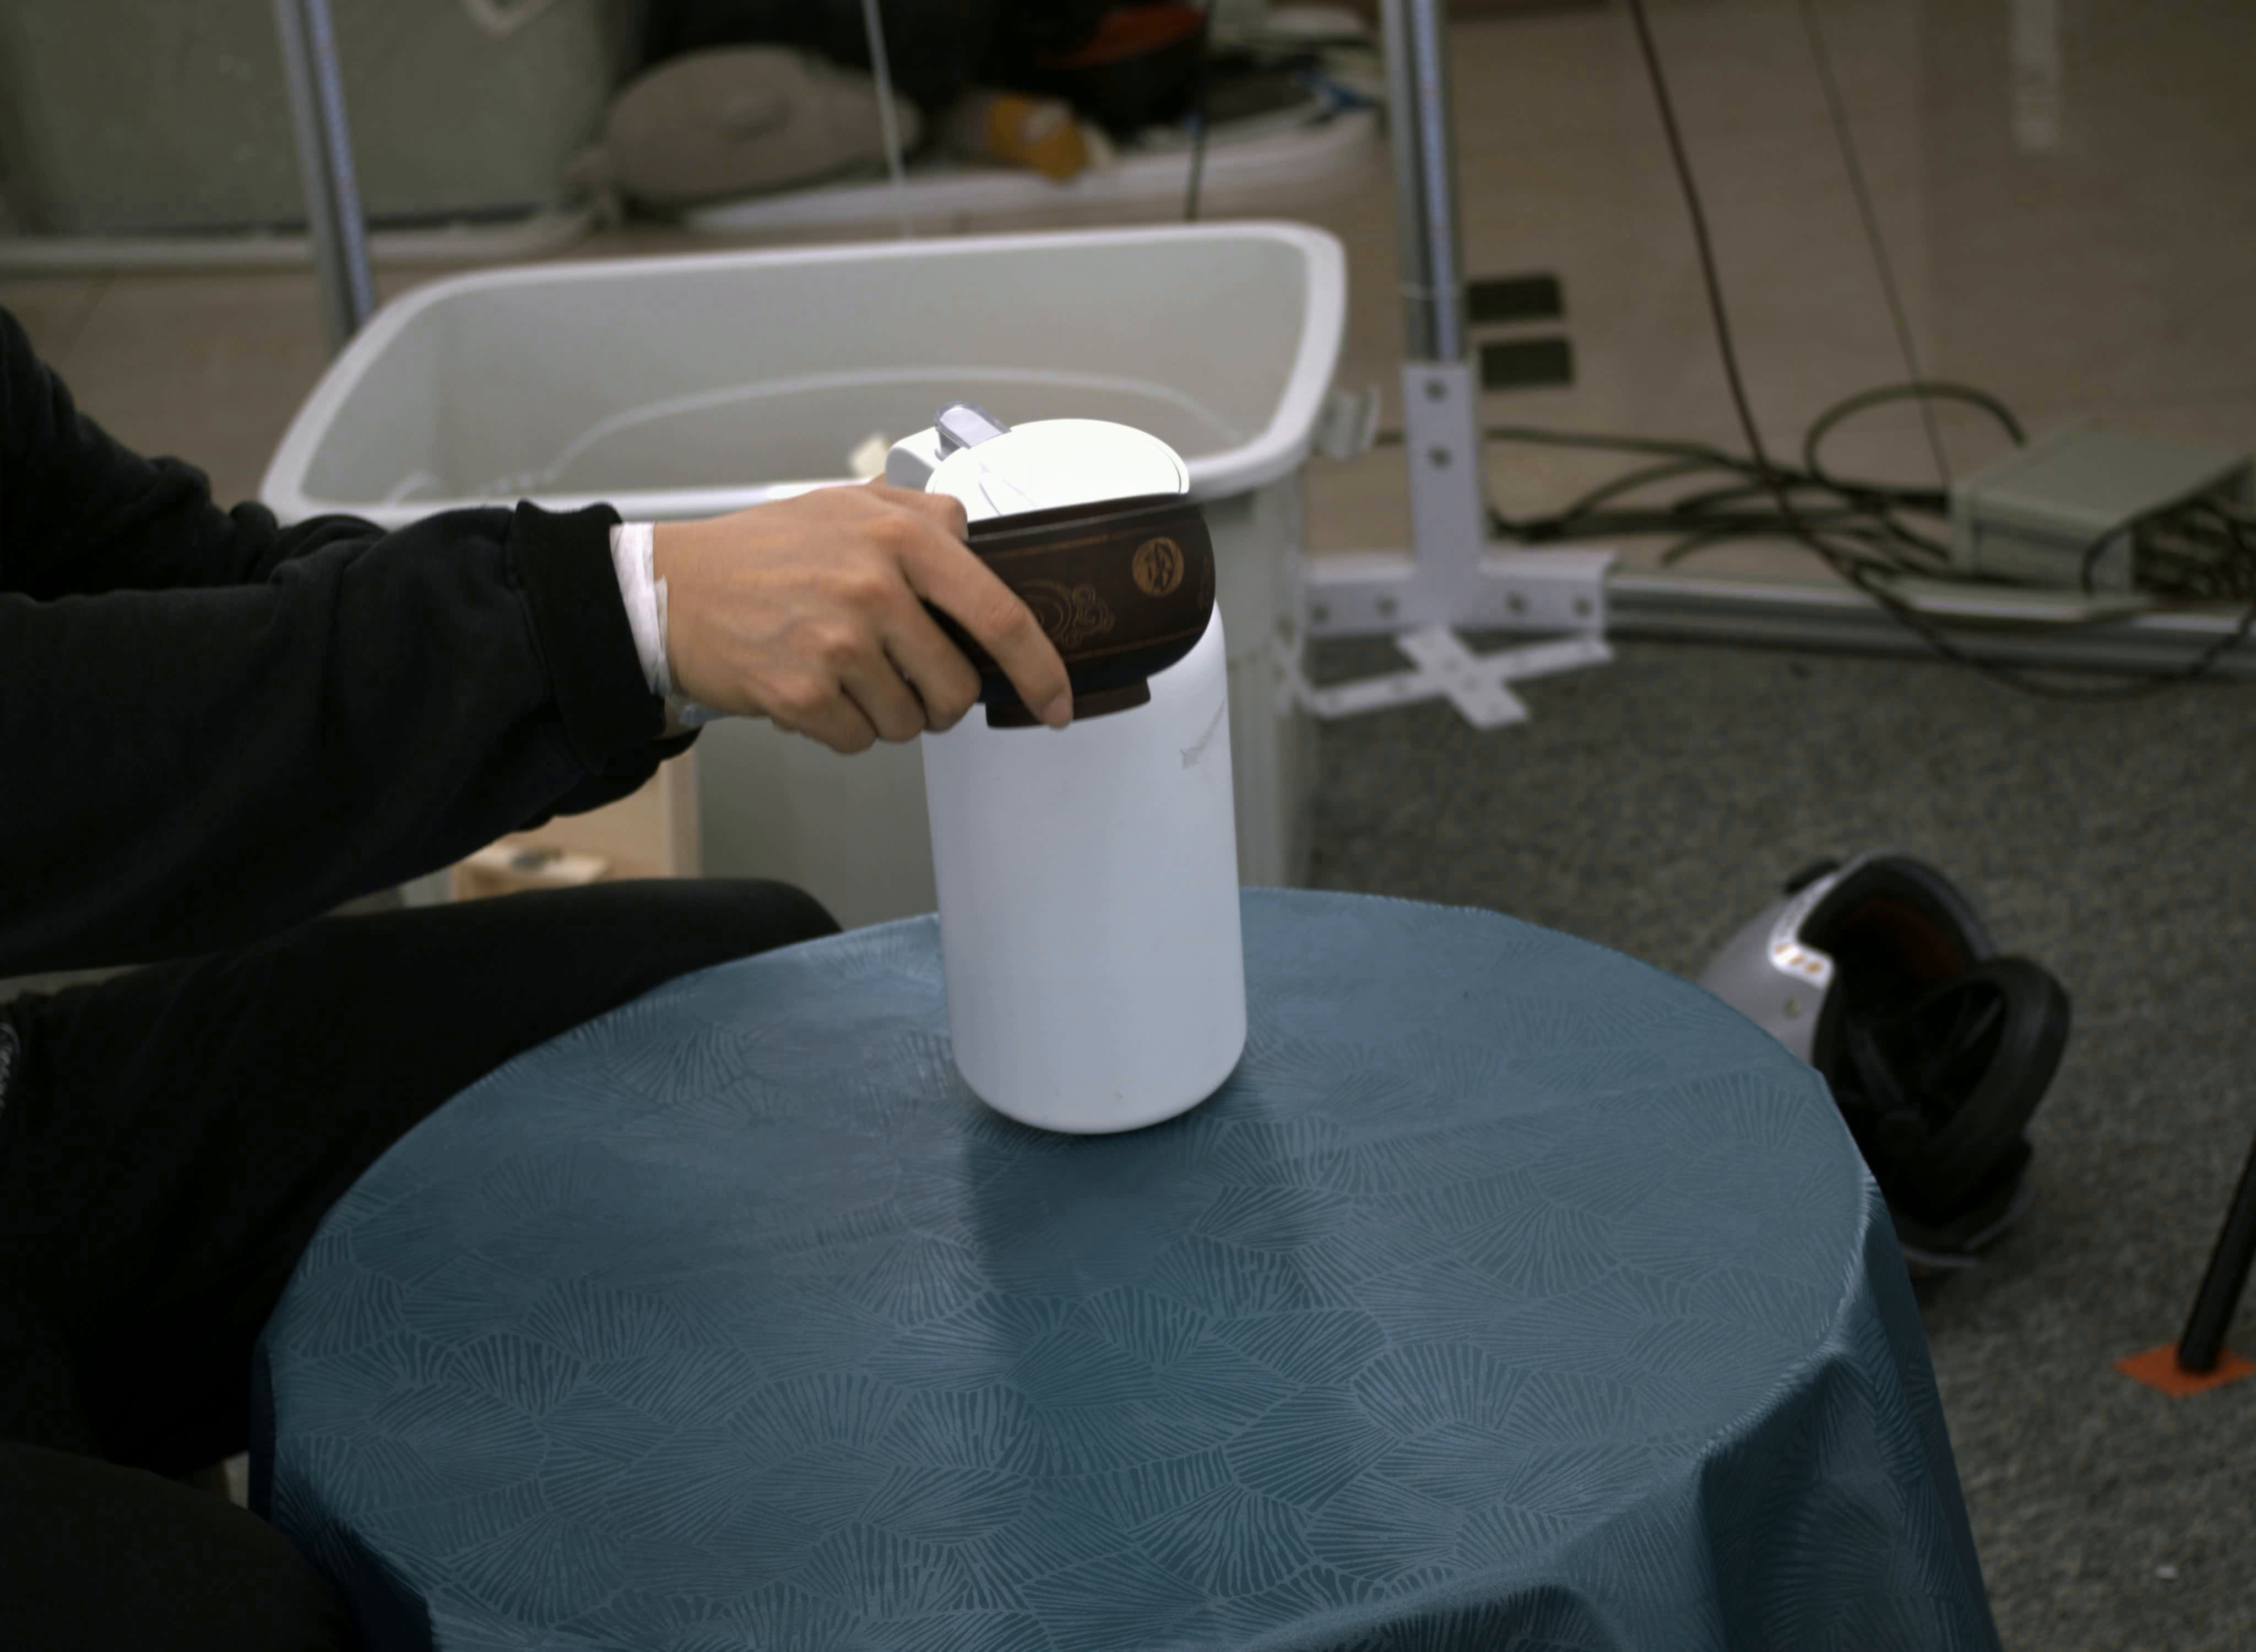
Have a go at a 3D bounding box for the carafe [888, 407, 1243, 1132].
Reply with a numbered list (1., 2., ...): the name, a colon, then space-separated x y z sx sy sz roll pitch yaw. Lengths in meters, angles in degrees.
1. carafe: -0.029 -0.026 2.165 0.123 0.274 0.170 -27 43 -24

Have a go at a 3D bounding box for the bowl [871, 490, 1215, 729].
1. bowl: -0.027 -0.072 1.947 0.118 0.070 0.117 -10 8 1
